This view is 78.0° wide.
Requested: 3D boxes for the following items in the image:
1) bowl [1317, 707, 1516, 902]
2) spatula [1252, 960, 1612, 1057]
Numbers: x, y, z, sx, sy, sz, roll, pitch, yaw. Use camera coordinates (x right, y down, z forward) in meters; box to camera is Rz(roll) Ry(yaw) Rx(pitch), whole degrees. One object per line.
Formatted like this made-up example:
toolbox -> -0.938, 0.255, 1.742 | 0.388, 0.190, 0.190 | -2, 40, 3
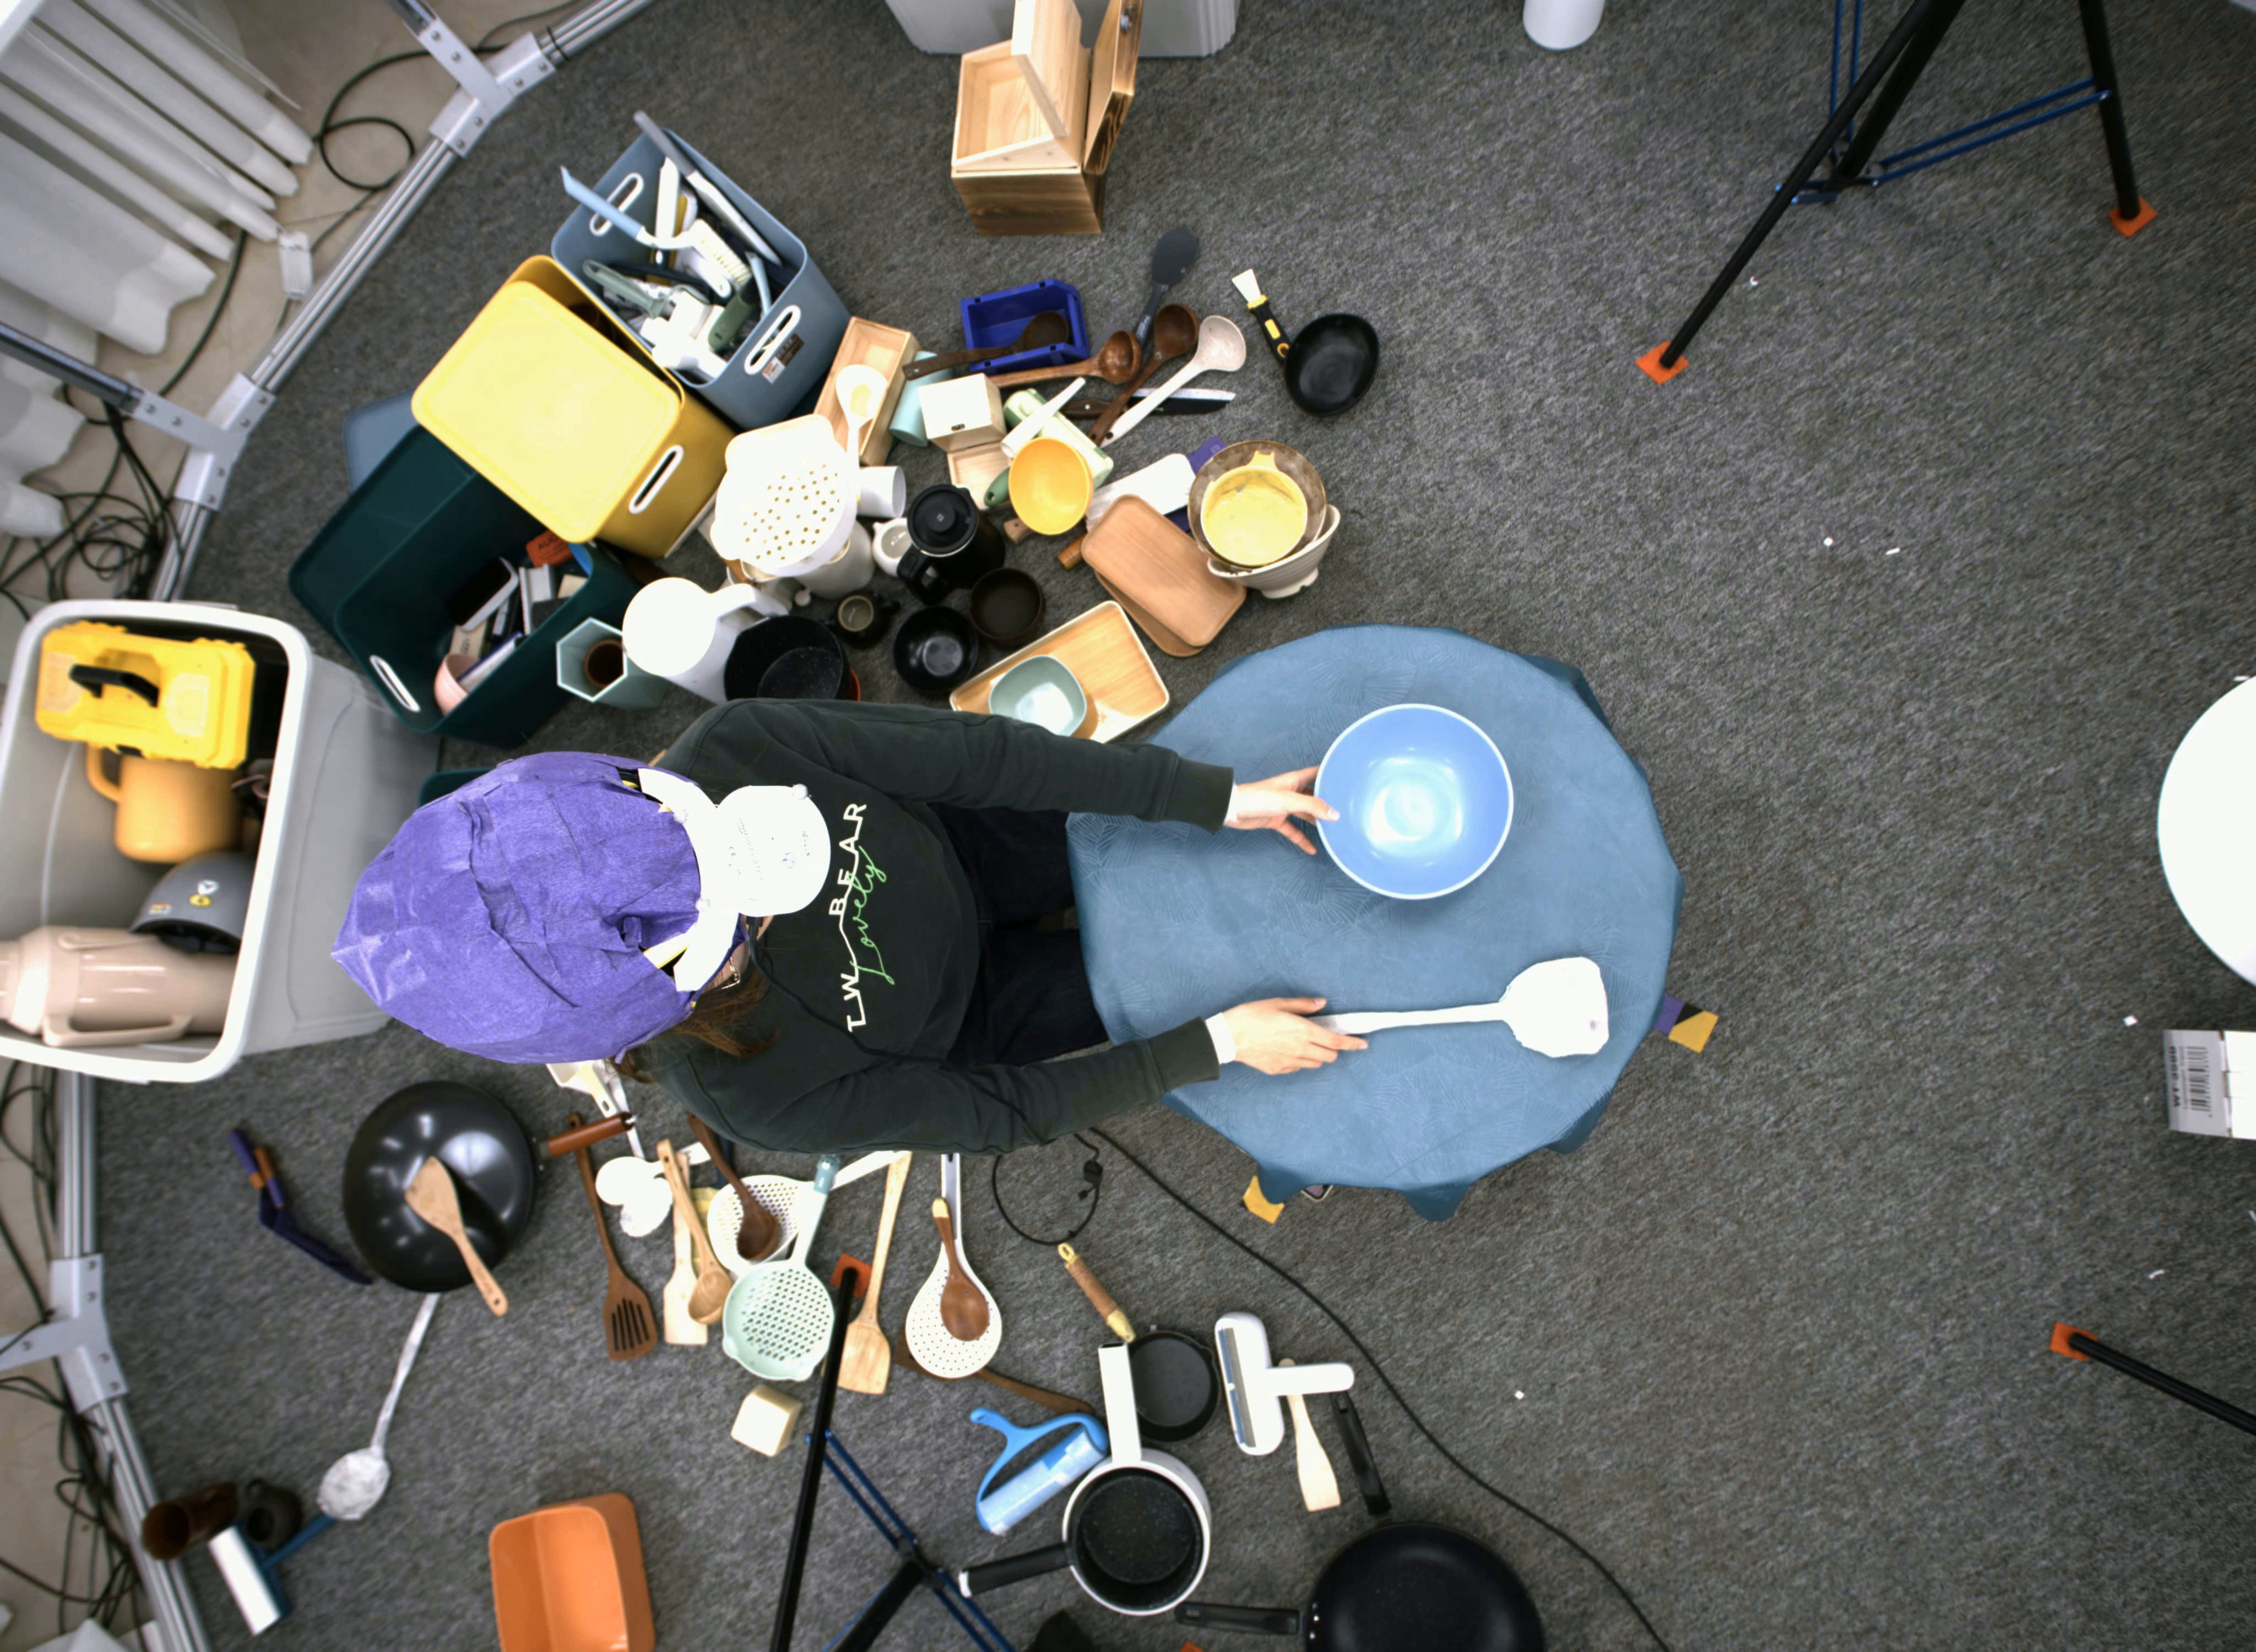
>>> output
bowl -> 0.294, -0.019, 1.418 | 0.197, 0.095, 0.196 | -1, 87, 9
spatula -> 0.309, 0.195, 1.429 | 0.366, 0.045, 0.098 | -5, 87, 10
